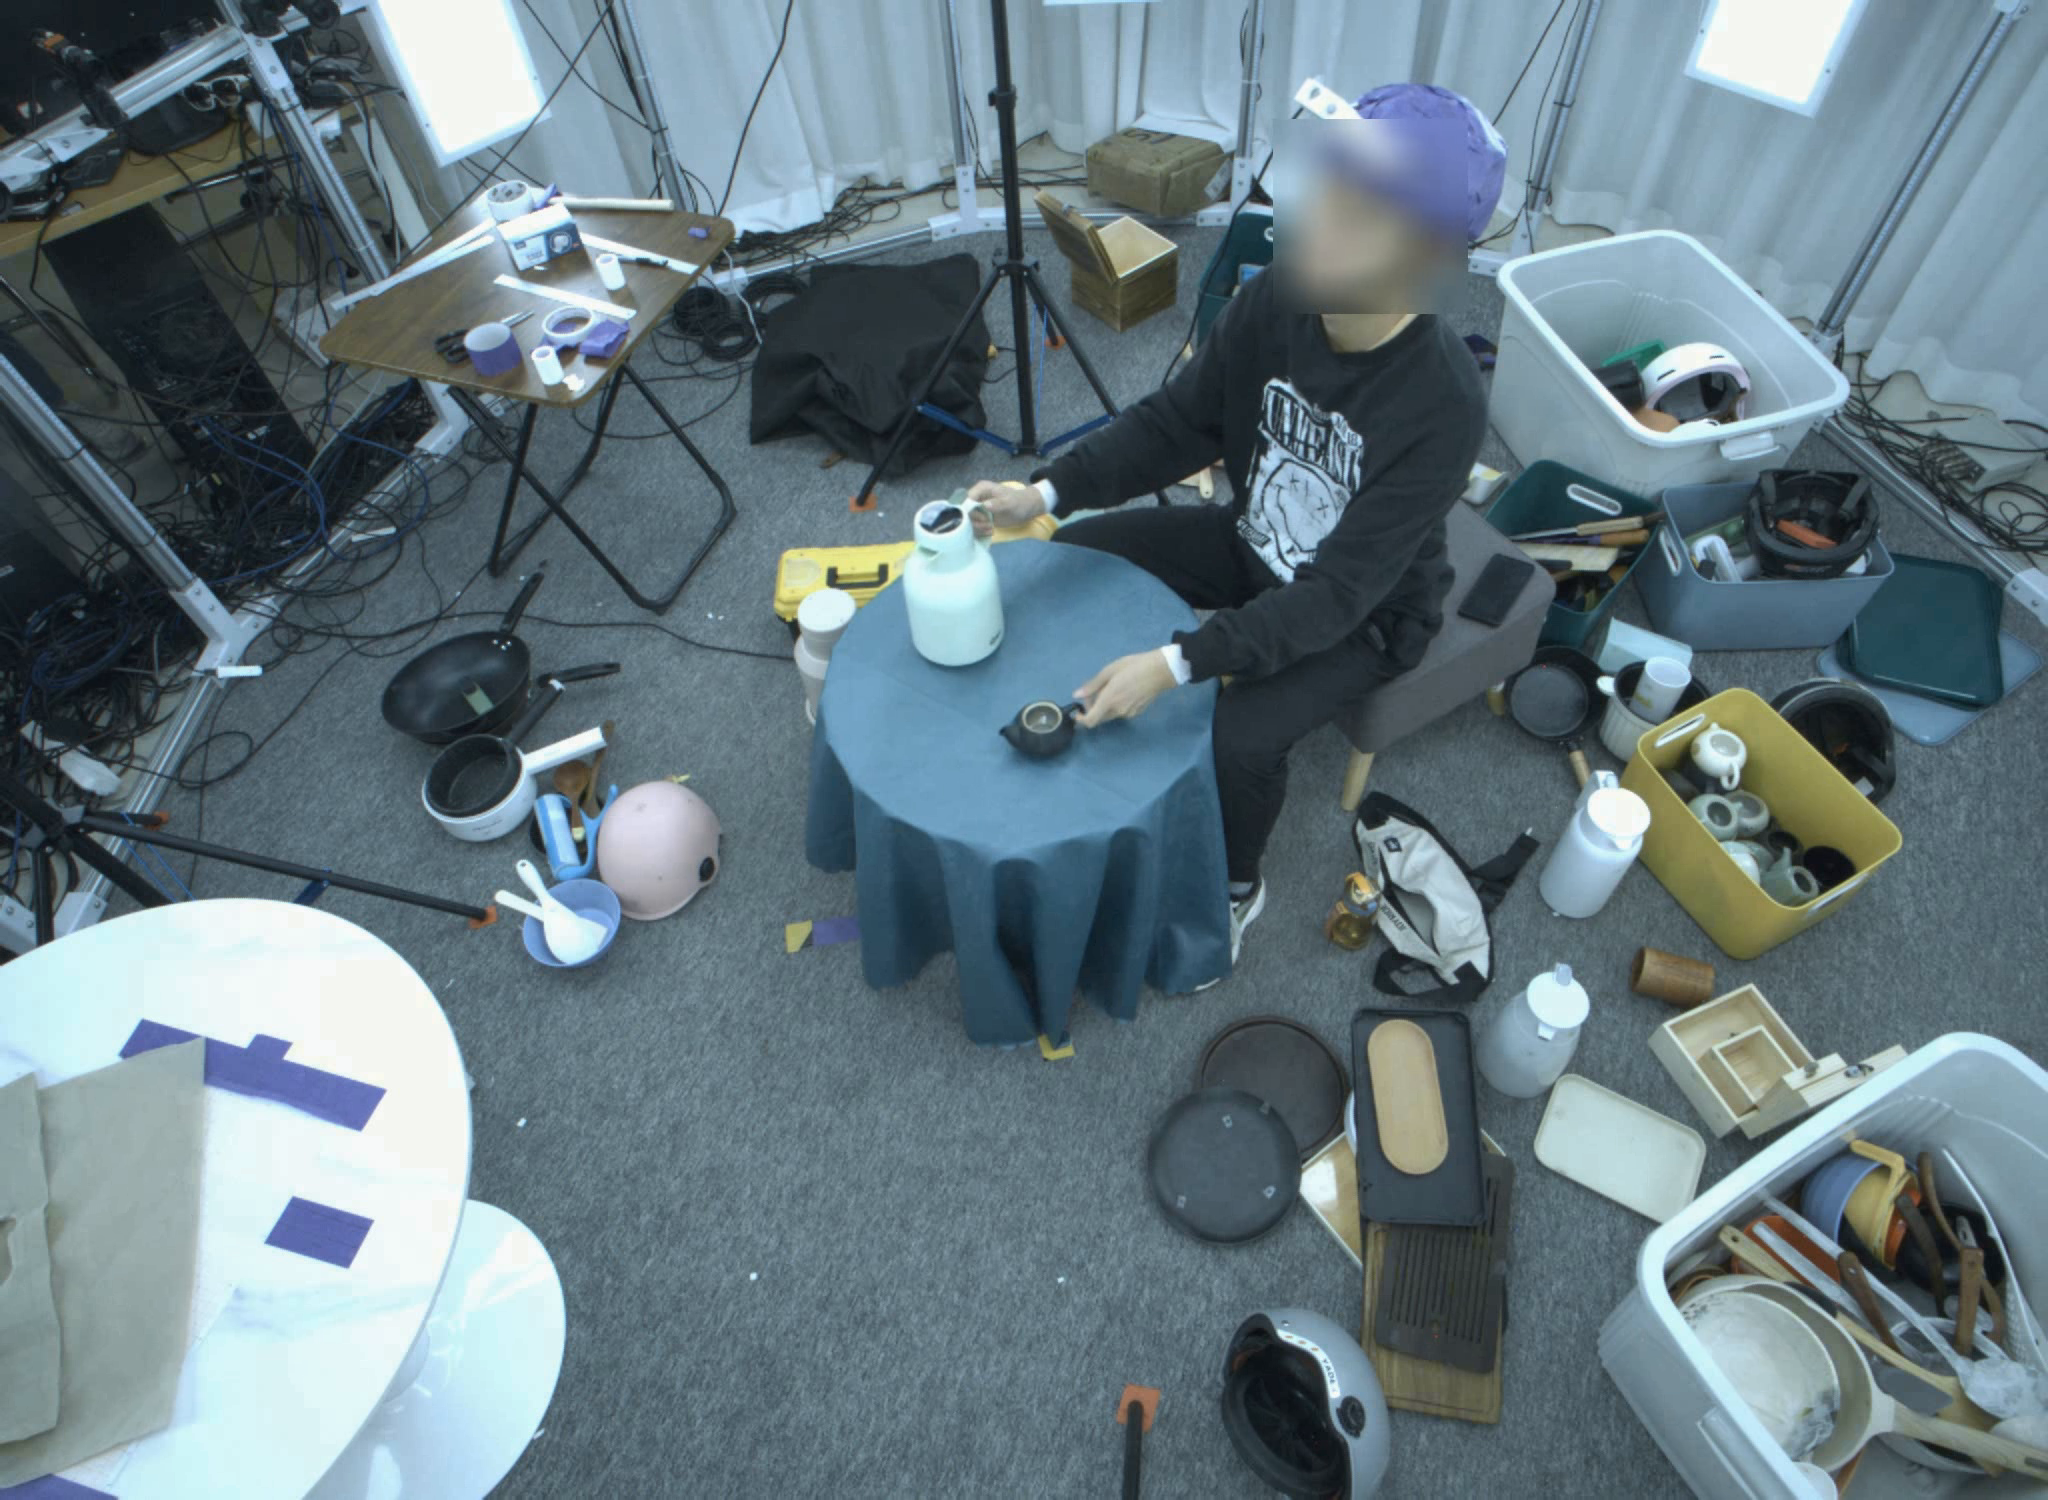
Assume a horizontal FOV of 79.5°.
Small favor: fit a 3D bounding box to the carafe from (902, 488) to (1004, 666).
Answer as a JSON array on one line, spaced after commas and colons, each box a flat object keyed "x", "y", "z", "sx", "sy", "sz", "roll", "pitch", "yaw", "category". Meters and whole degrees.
[{"x": -0.104, "y": -0.263, "z": 1.820, "sx": 0.142, "sy": 0.259, "sz": 0.187, "roll": 19, "pitch": 55, "yaw": 18, "category": "carafe"}]

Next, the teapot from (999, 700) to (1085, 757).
[{"x": 0.027, "y": -0.032, "z": 1.772, "sx": 0.134, "sy": 0.053, "sz": 0.089, "roll": -21, "pitch": 58, "yaw": -12, "category": "teapot"}]
